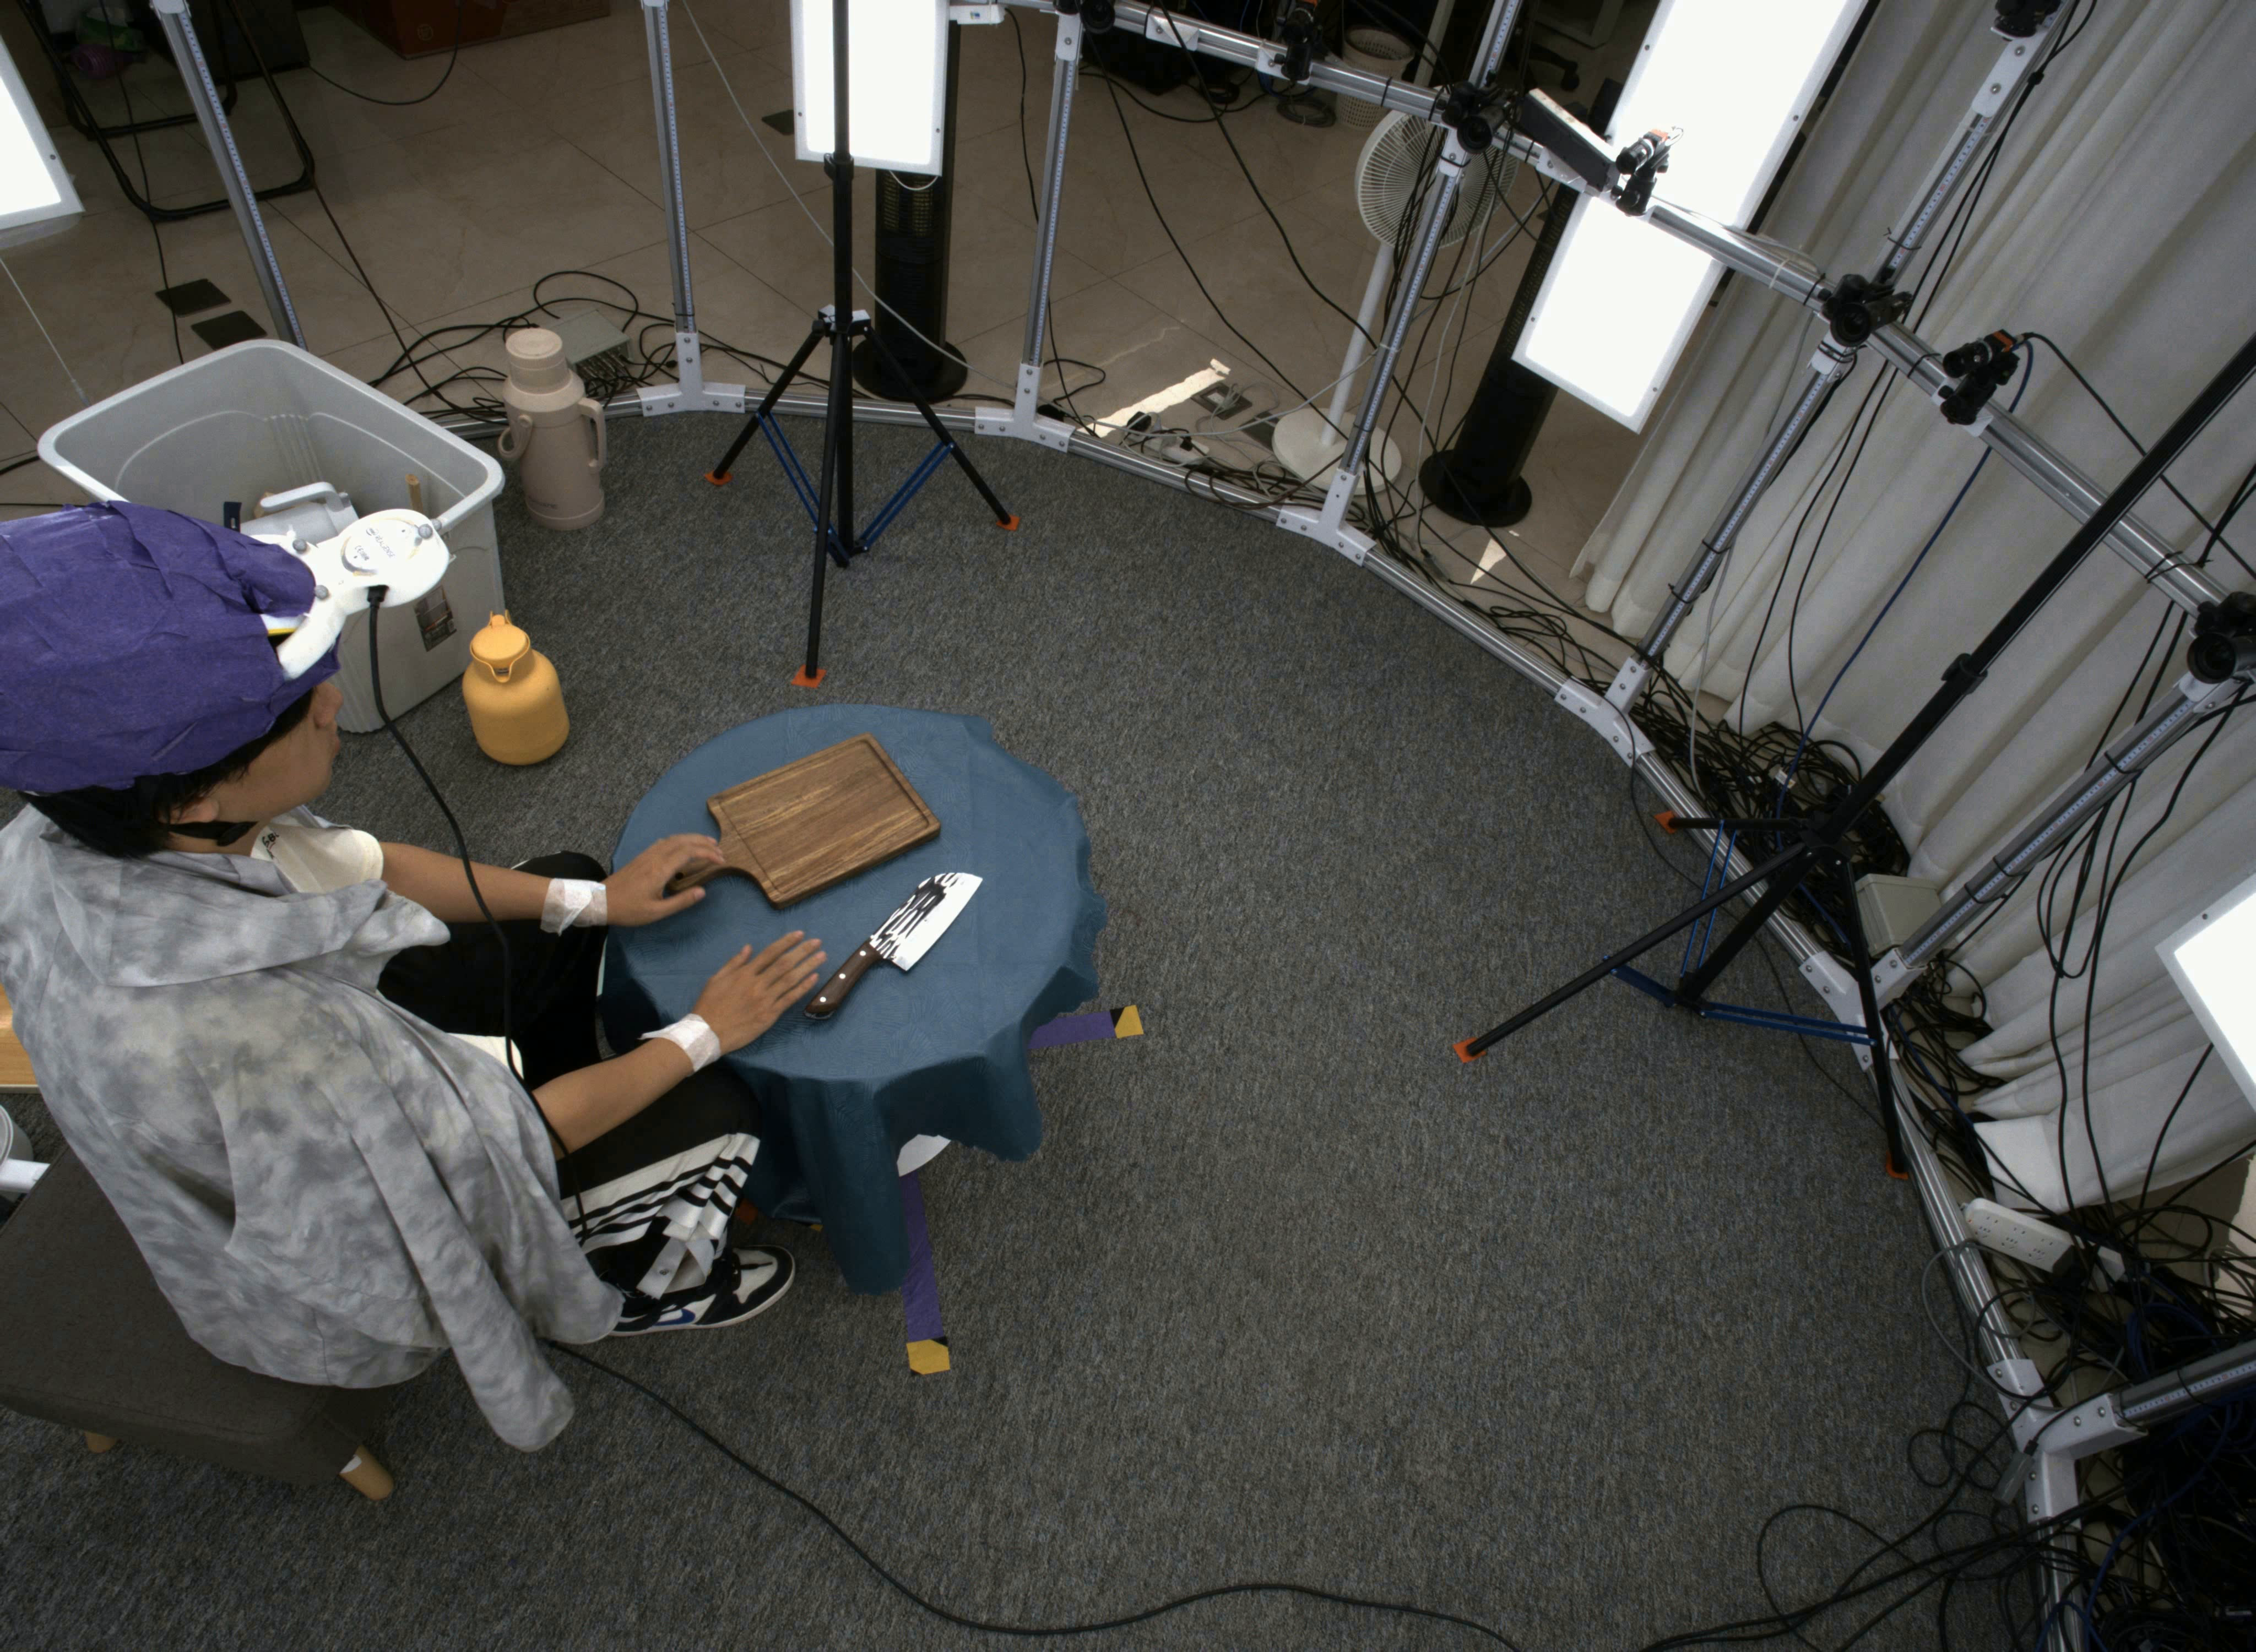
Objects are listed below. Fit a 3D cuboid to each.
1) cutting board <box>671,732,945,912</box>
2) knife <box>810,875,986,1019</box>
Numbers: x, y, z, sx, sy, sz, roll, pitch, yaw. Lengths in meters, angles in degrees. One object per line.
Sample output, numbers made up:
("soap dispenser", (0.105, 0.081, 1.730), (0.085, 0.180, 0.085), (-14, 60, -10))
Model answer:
("cutting board", (-0.437, 0.008, 1.704), (0.353, 0.023, 0.196), (-28, 64, -29))
("knife", (-0.283, 0.147, 1.639), (0.067, 0.024, 0.299), (34, 51, 10))
